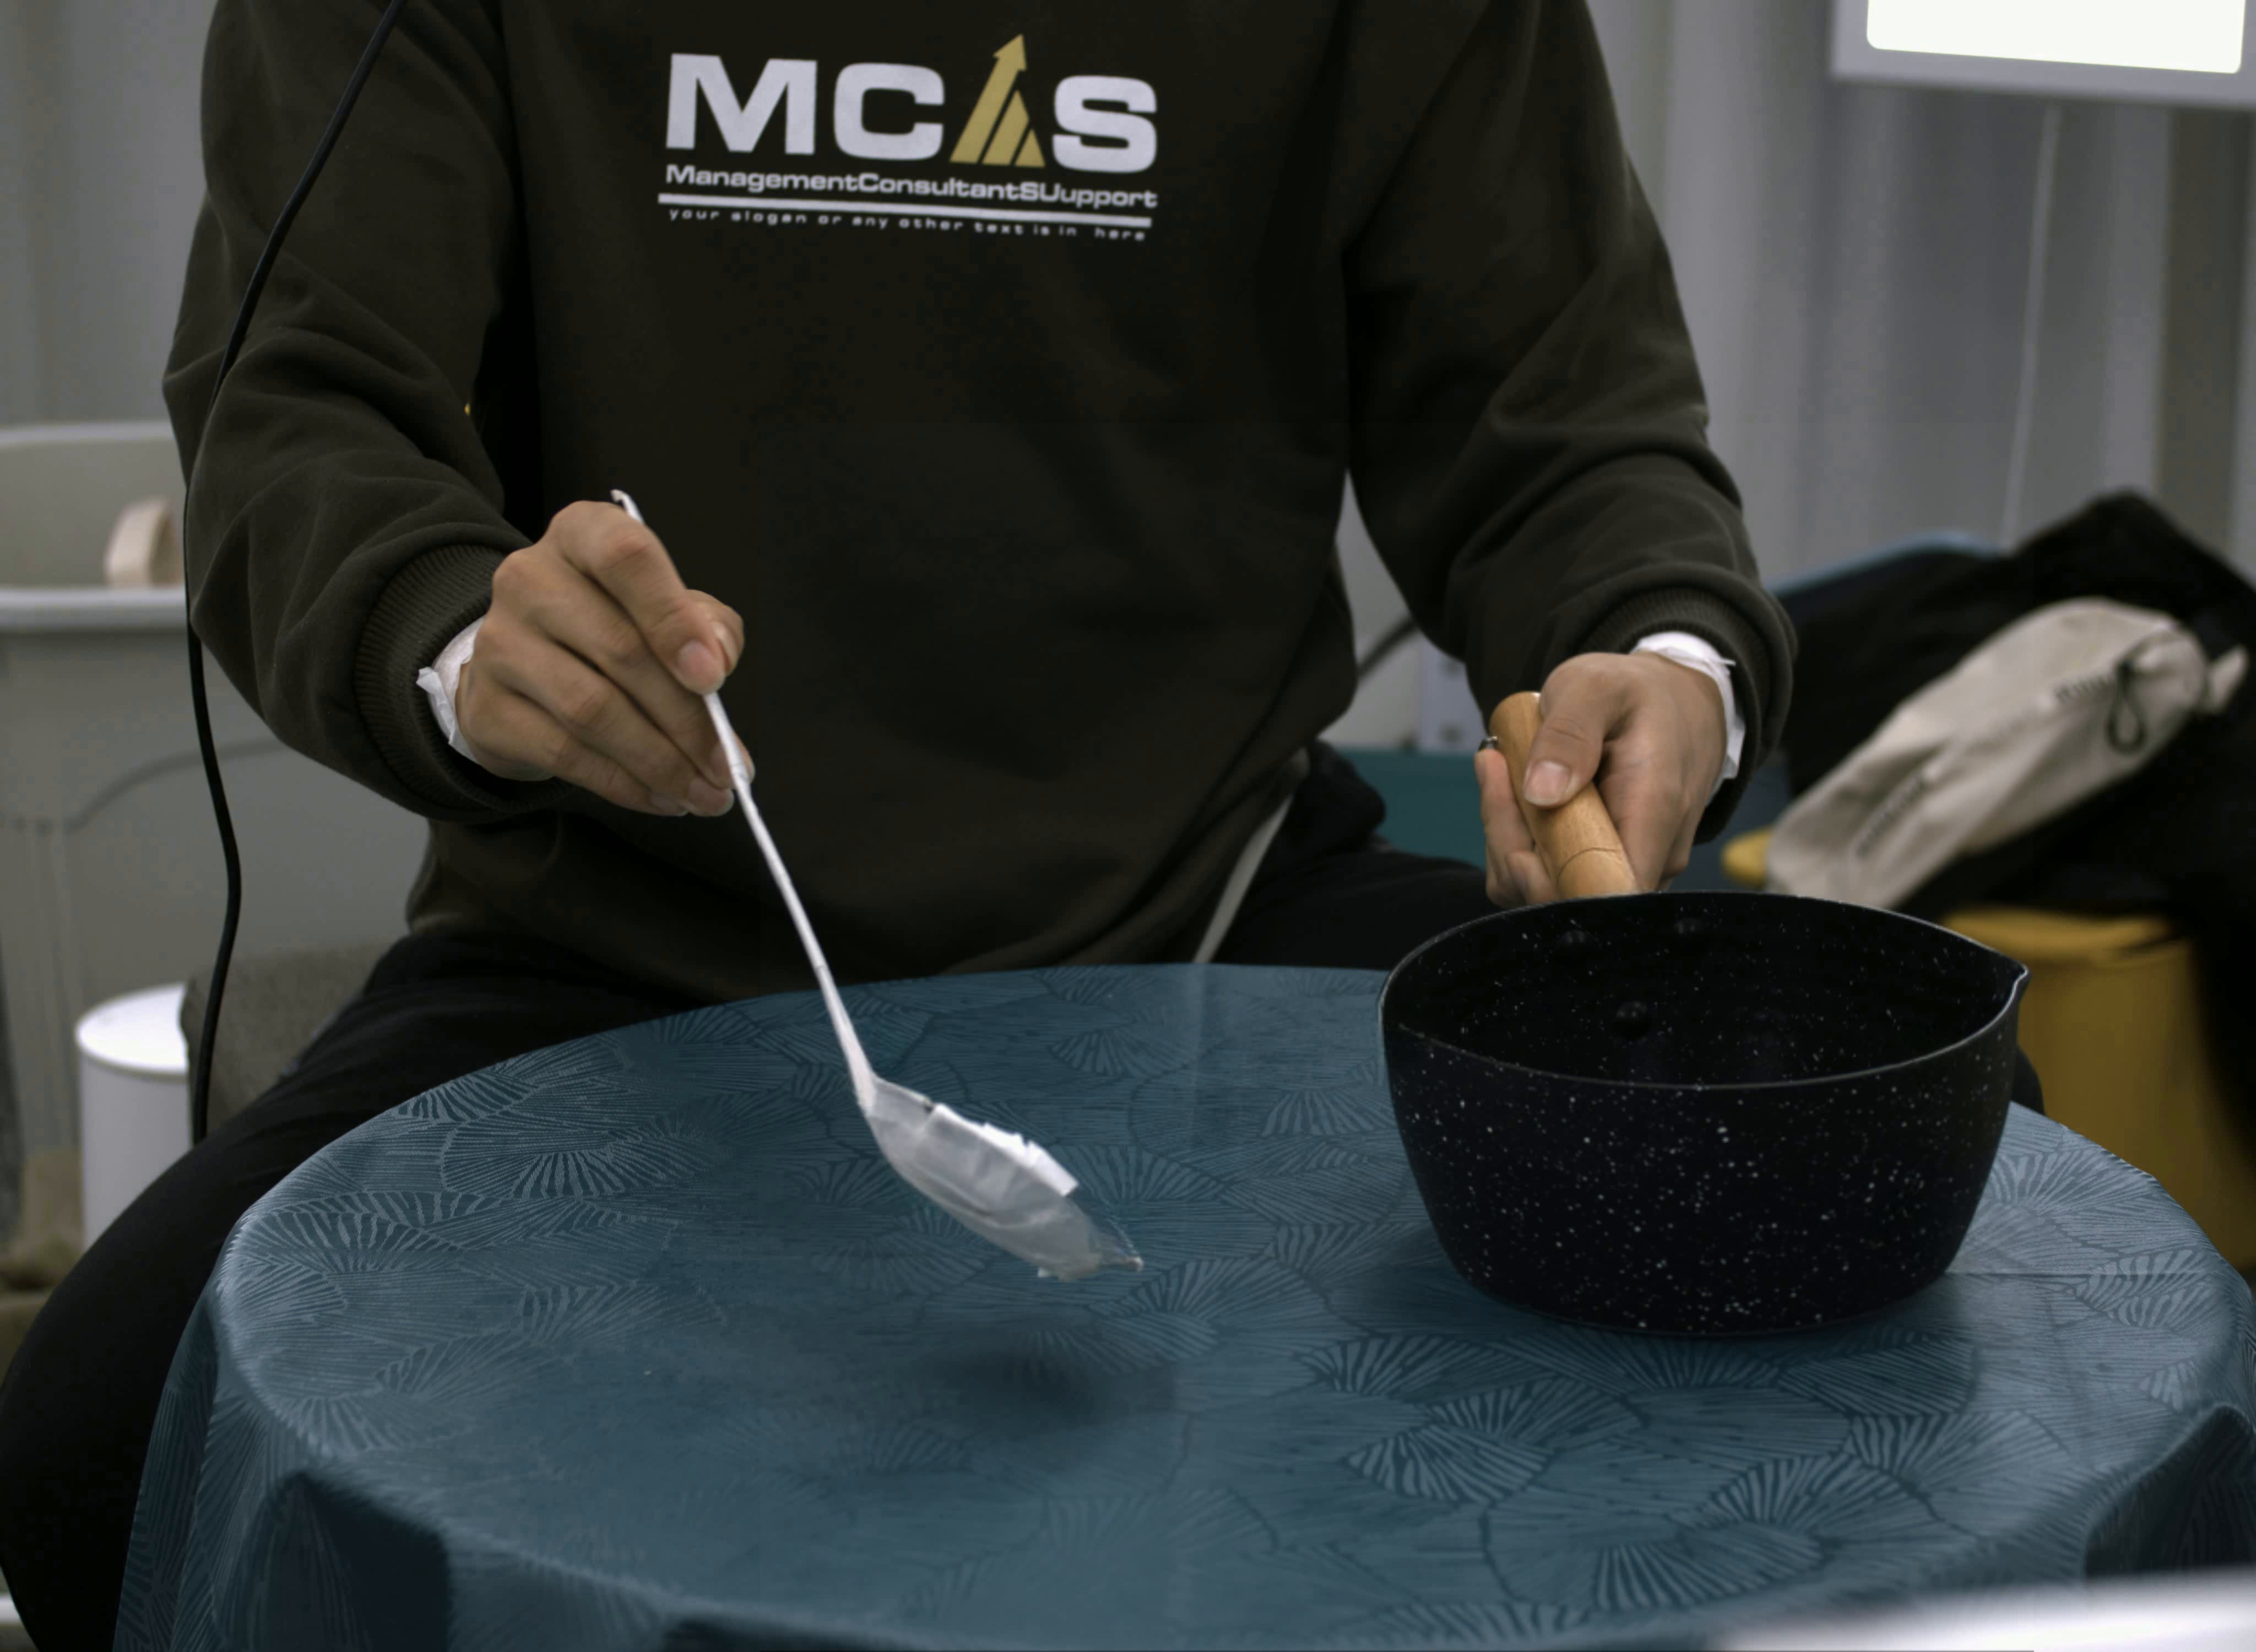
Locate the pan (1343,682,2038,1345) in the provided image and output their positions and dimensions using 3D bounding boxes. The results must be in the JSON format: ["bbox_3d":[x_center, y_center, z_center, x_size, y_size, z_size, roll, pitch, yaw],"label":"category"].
[{"bbox_3d":[0.156,0.053,1.630,0.207,0.109,0.340,-5,18,-8],"label":"pan"}]

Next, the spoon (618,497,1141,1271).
[{"bbox_3d":[-0.073,0.012,1.494,0.059,0.275,0.101,-23,-23,0],"label":"spoon"}]
